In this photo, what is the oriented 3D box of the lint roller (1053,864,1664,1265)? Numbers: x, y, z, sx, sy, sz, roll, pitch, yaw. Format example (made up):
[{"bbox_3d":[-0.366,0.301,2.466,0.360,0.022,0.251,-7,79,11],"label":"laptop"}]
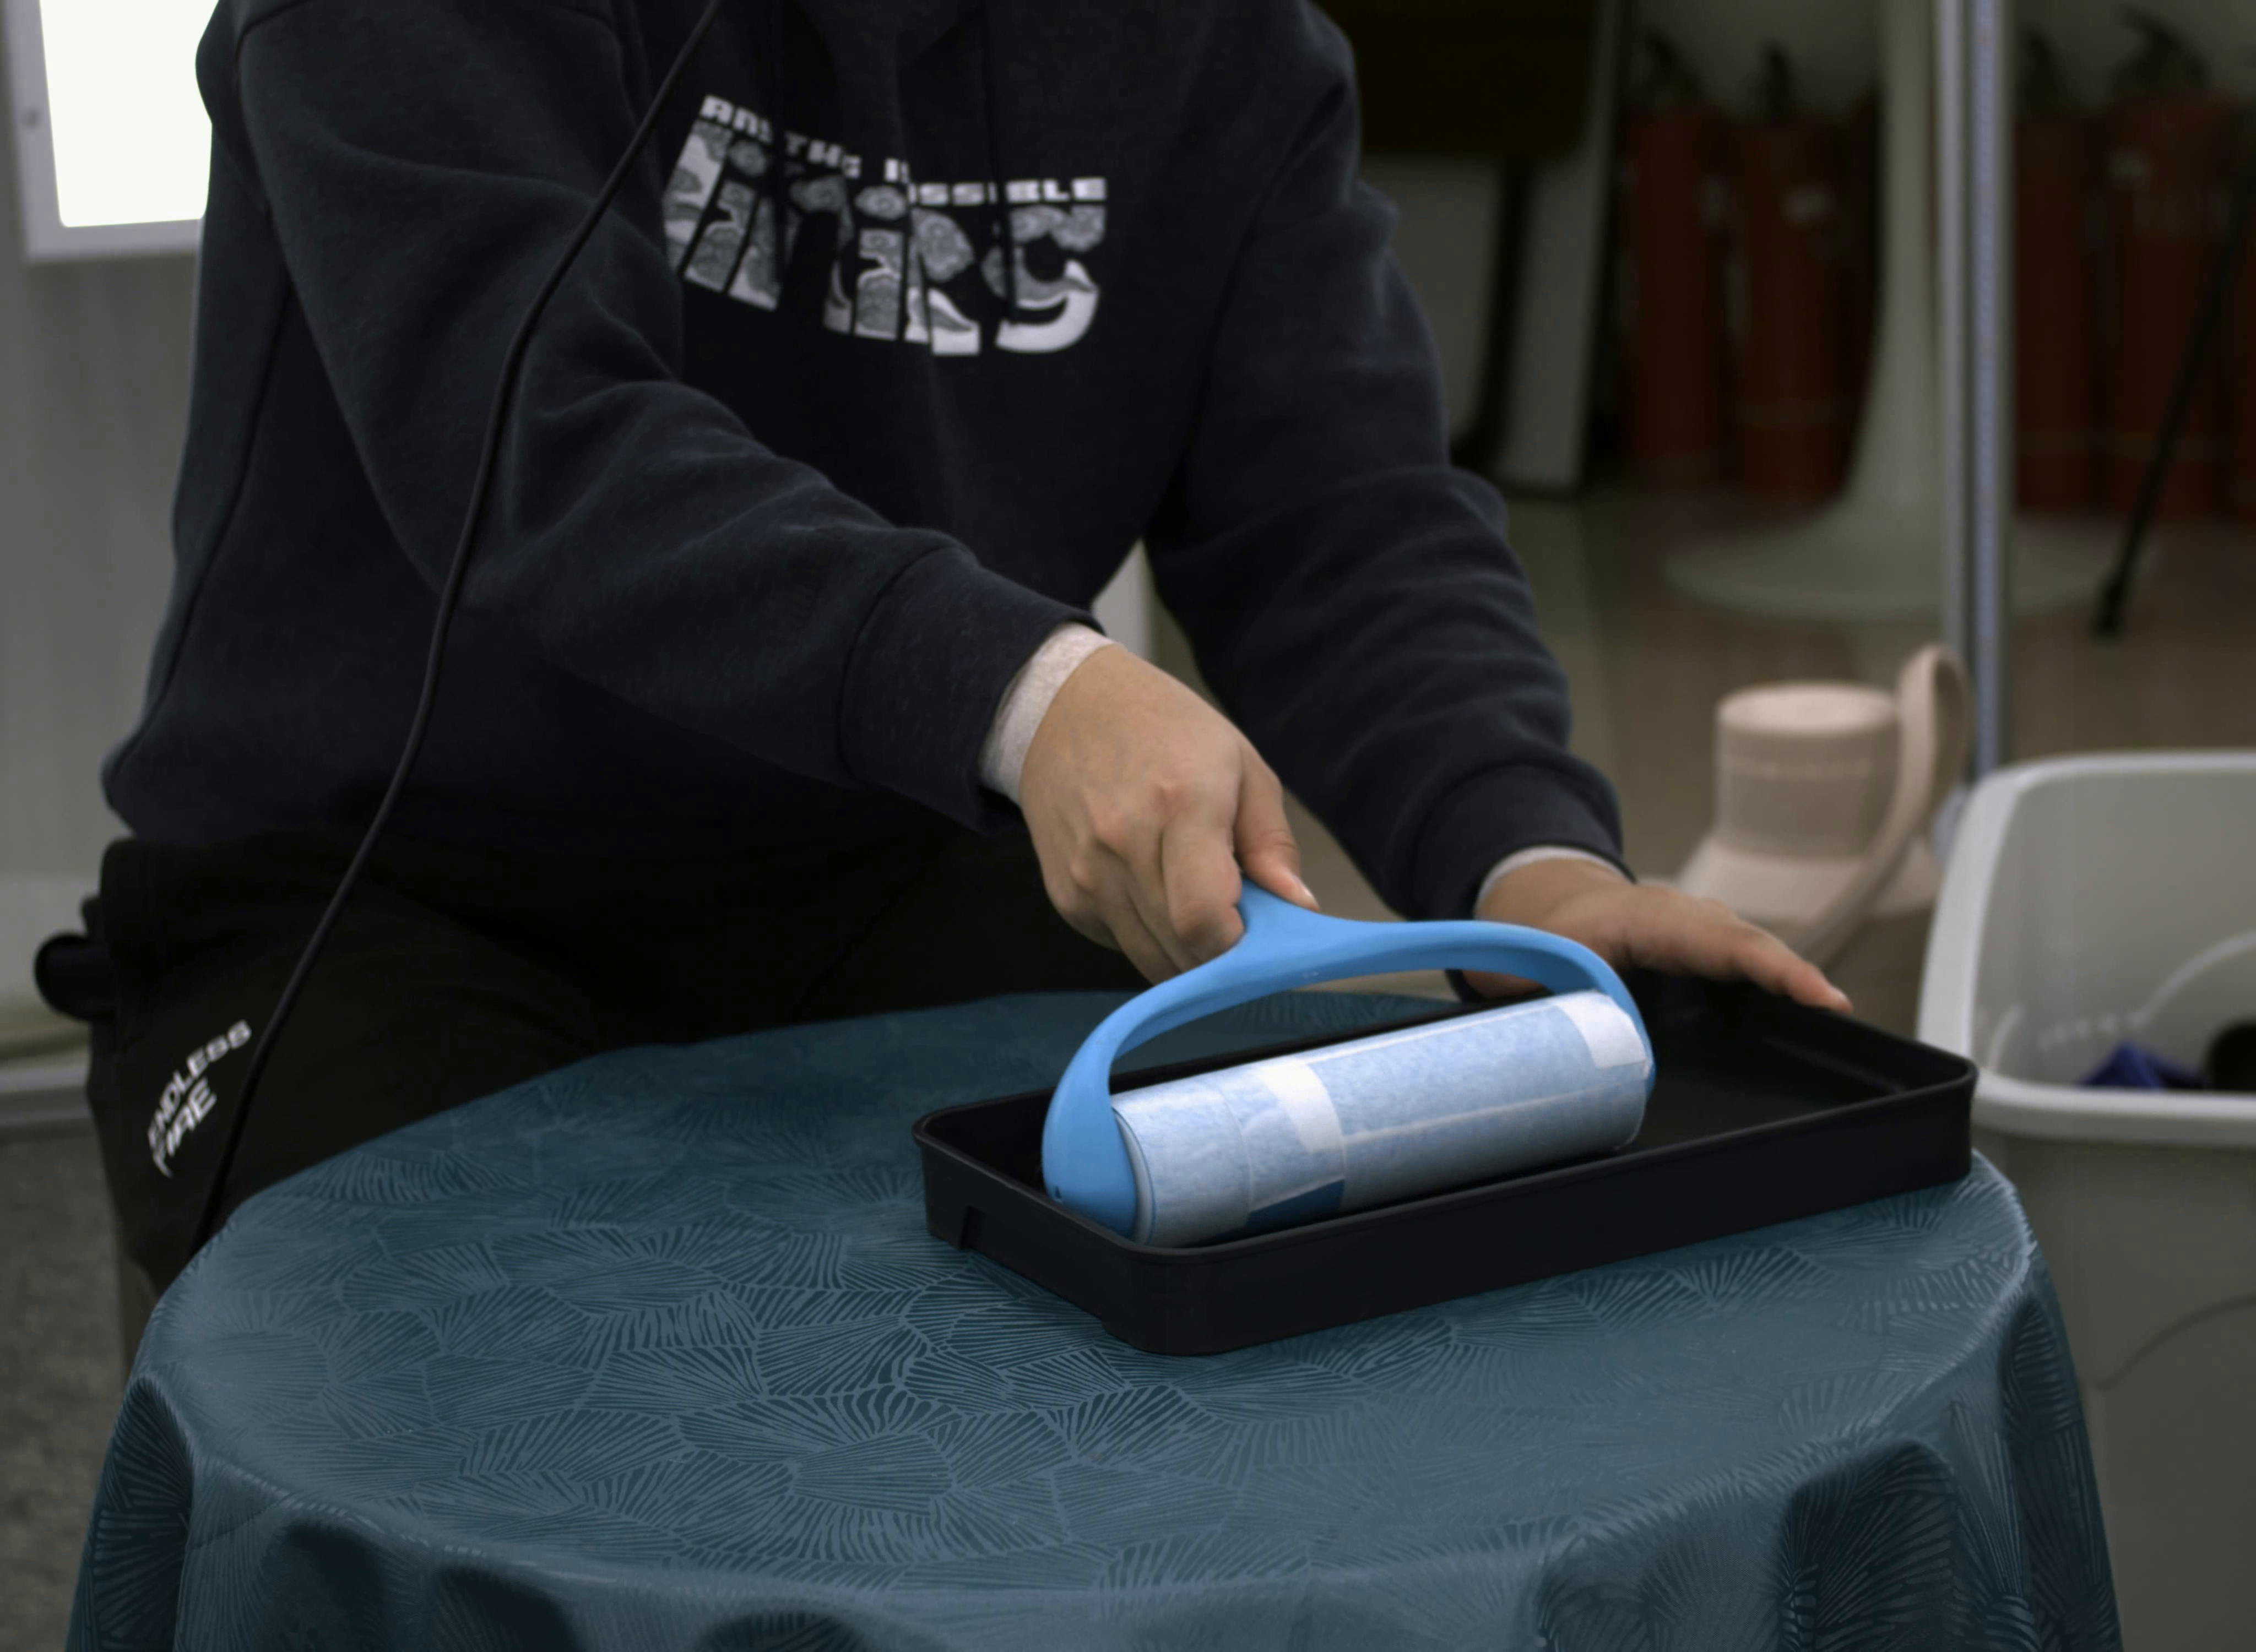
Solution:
[{"bbox_3d":[0.047,0.057,1.761,0.224,0.068,0.182,-14,47,-29],"label":"lint roller"}]

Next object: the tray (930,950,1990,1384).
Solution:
[{"bbox_3d":[0.109,0.105,1.745,0.311,0.037,0.186,-13,16,-26],"label":"tray"}]
